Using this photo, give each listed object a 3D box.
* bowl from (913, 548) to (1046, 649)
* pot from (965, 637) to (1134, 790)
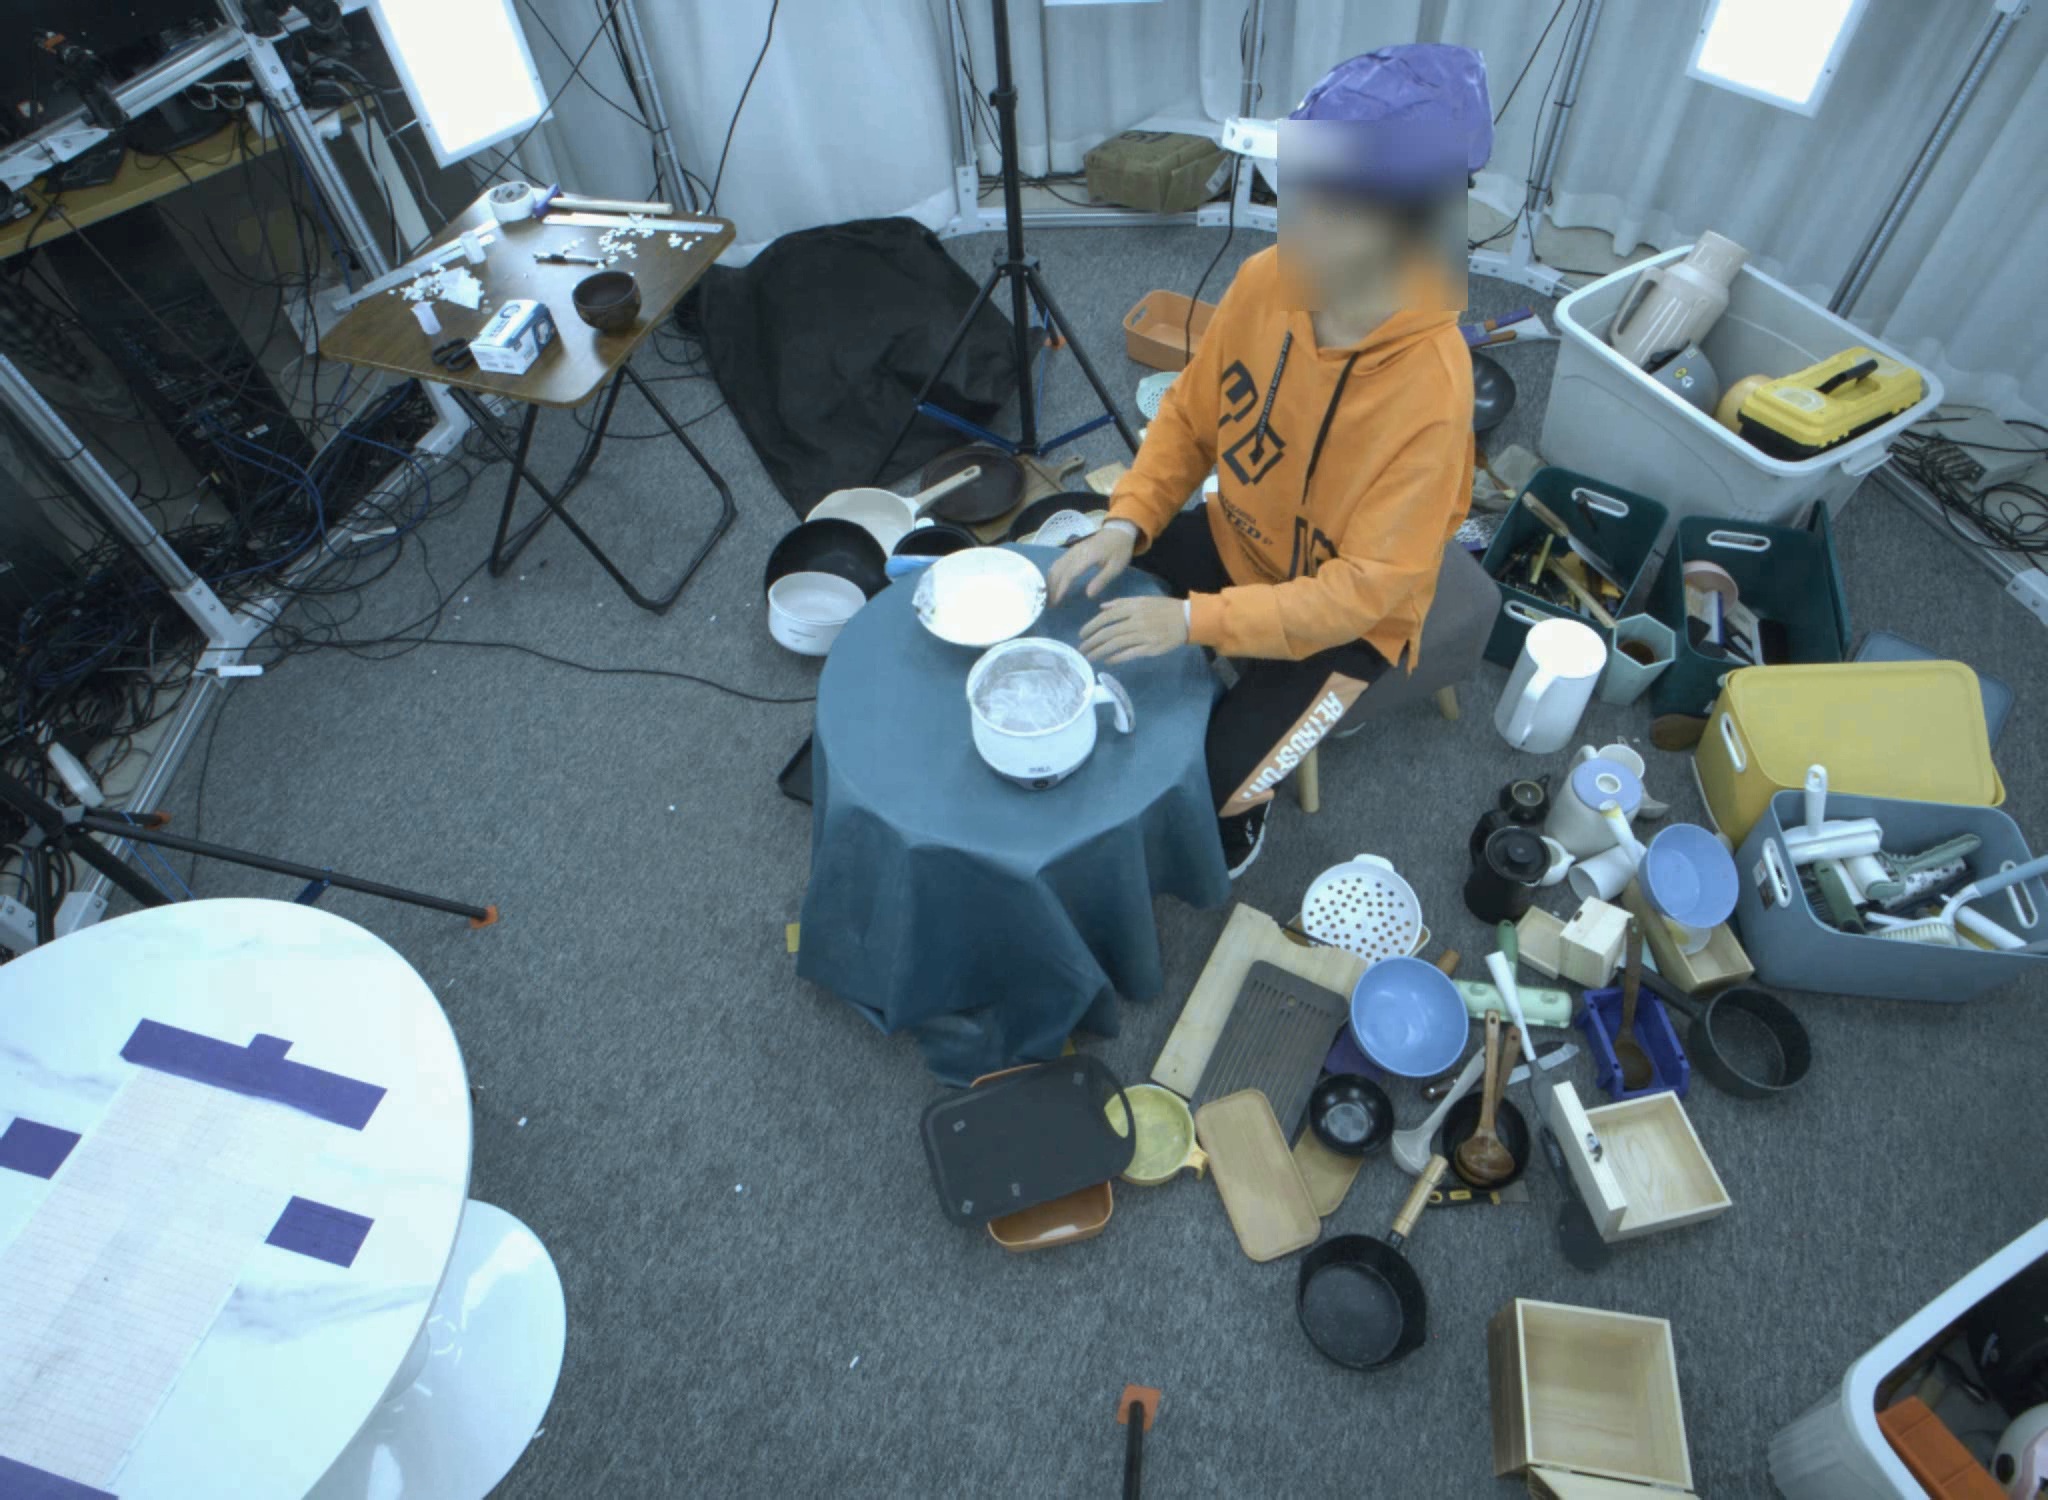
[{"bbox_3d":[-0.068,-0.215,1.896,0.204,0.079,0.202,1,53,0],"label":"bowl"},{"bbox_3d":[0.039,-0.055,1.740,0.234,0.138,0.176,-8,55,-2],"label":"pot"}]
